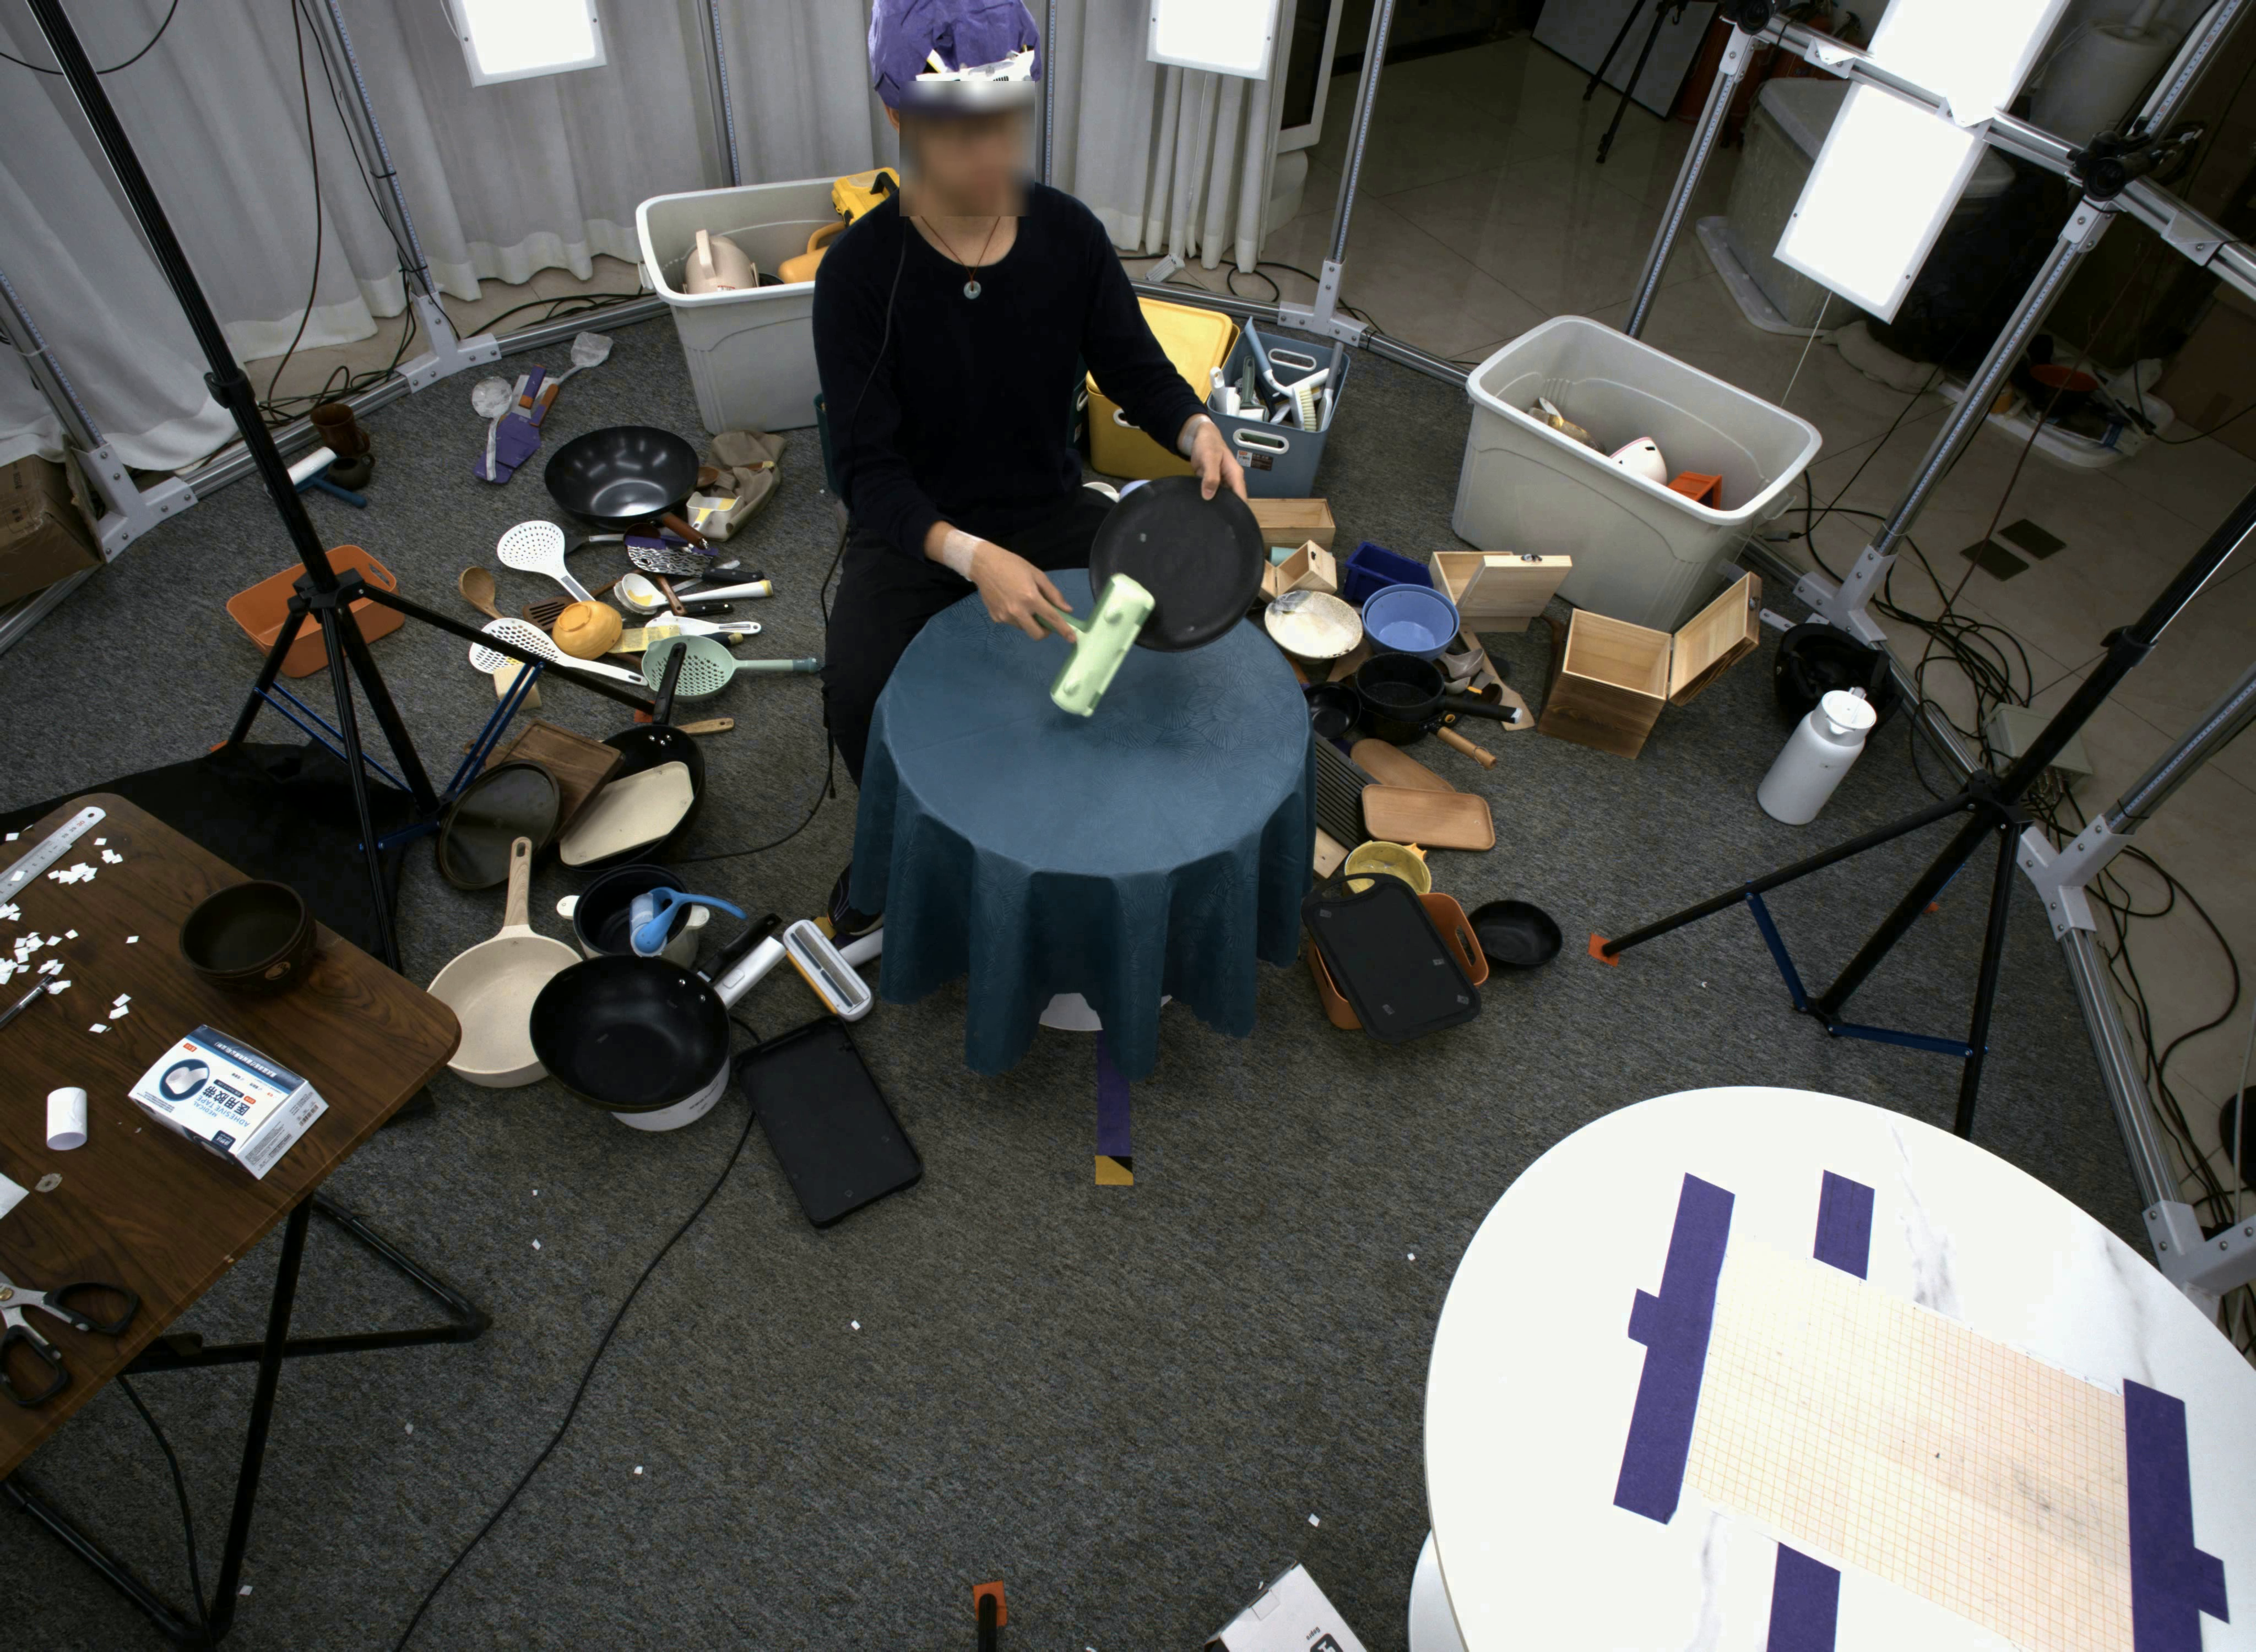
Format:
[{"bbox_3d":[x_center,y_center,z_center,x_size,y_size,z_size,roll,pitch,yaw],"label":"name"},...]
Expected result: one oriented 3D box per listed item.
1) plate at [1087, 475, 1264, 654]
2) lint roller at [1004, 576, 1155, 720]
[{"bbox_3d":[0.064,-0.352,1.736,0.245,0.023,0.246,-2,83,15],"label":"plate"},{"bbox_3d":[-0.086,-0.259,1.708,0.182,0.196,0.084,27,23,-9],"label":"lint roller"}]
